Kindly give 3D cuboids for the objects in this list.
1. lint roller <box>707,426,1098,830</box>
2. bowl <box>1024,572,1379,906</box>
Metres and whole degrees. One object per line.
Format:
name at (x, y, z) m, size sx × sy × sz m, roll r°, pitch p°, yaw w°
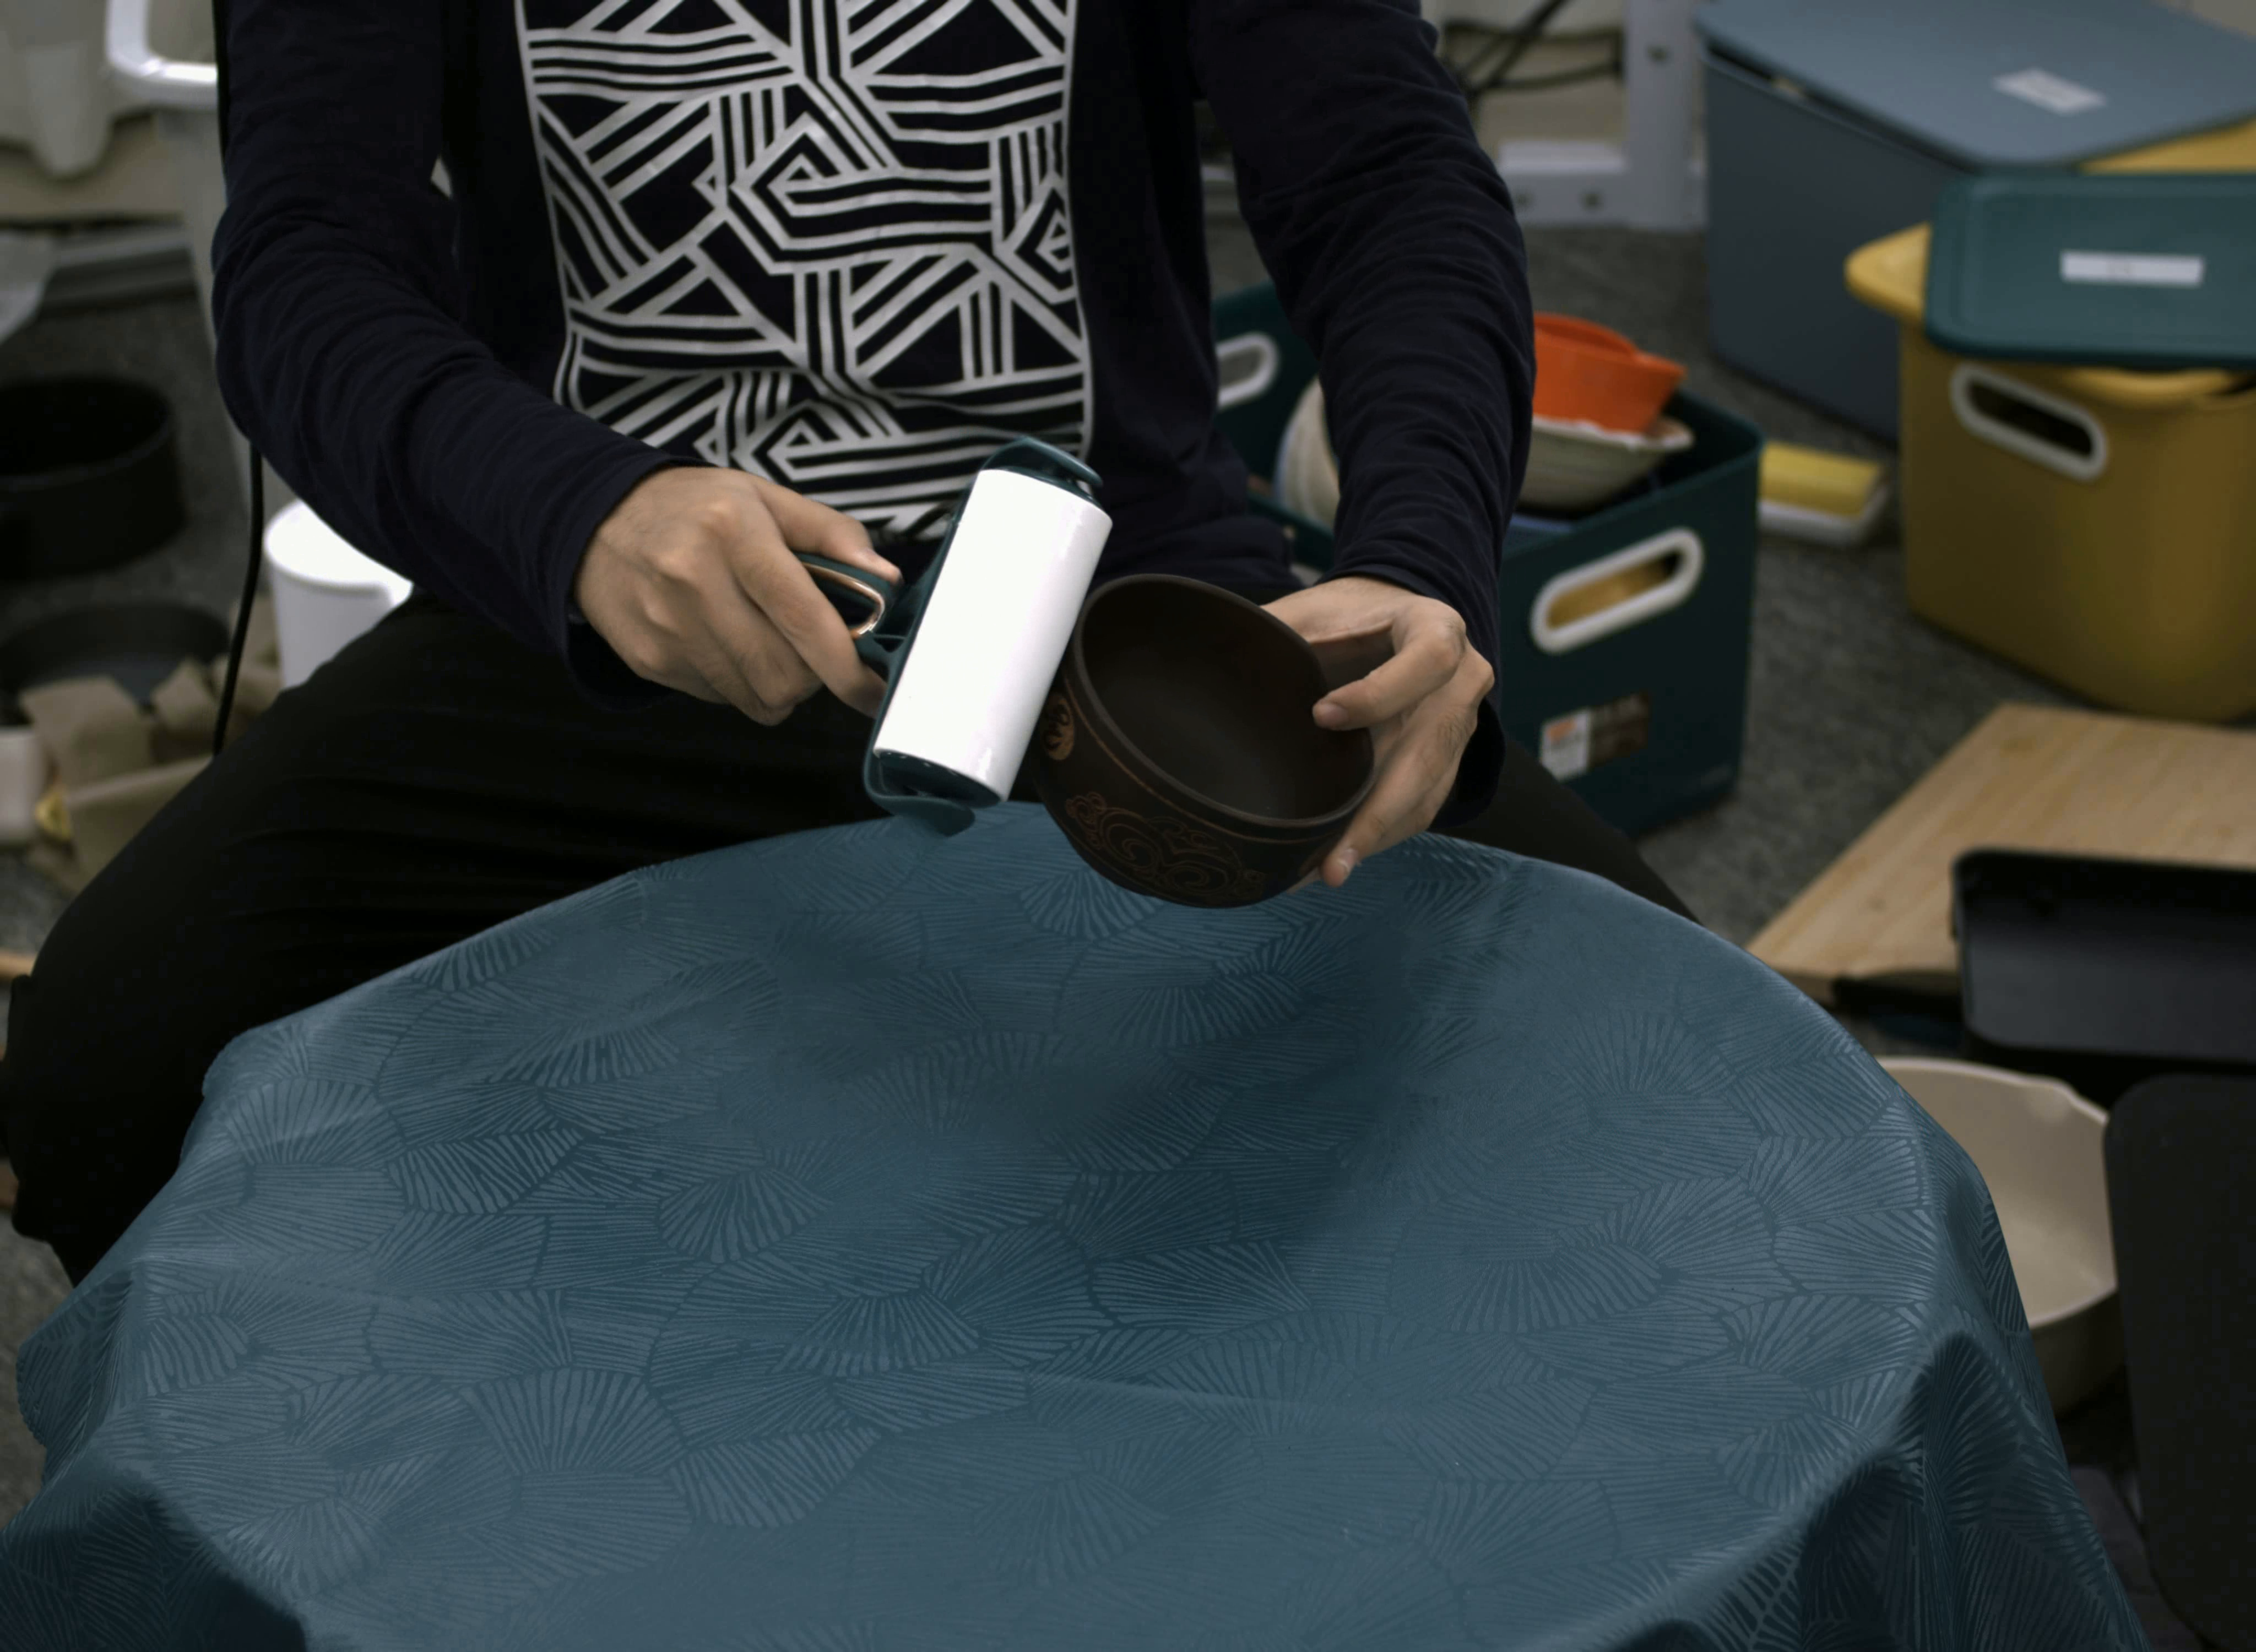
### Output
lint roller at (-0.094, -0.072, 1.874) m, size 0.179 × 0.136 × 0.048 m, roll 10°, pitch -15°, yaw 44°
bowl at (0.018, -0.020, 1.867) m, size 0.117 × 0.069 × 0.120 m, roll 21°, pitch 35°, yaw -15°
